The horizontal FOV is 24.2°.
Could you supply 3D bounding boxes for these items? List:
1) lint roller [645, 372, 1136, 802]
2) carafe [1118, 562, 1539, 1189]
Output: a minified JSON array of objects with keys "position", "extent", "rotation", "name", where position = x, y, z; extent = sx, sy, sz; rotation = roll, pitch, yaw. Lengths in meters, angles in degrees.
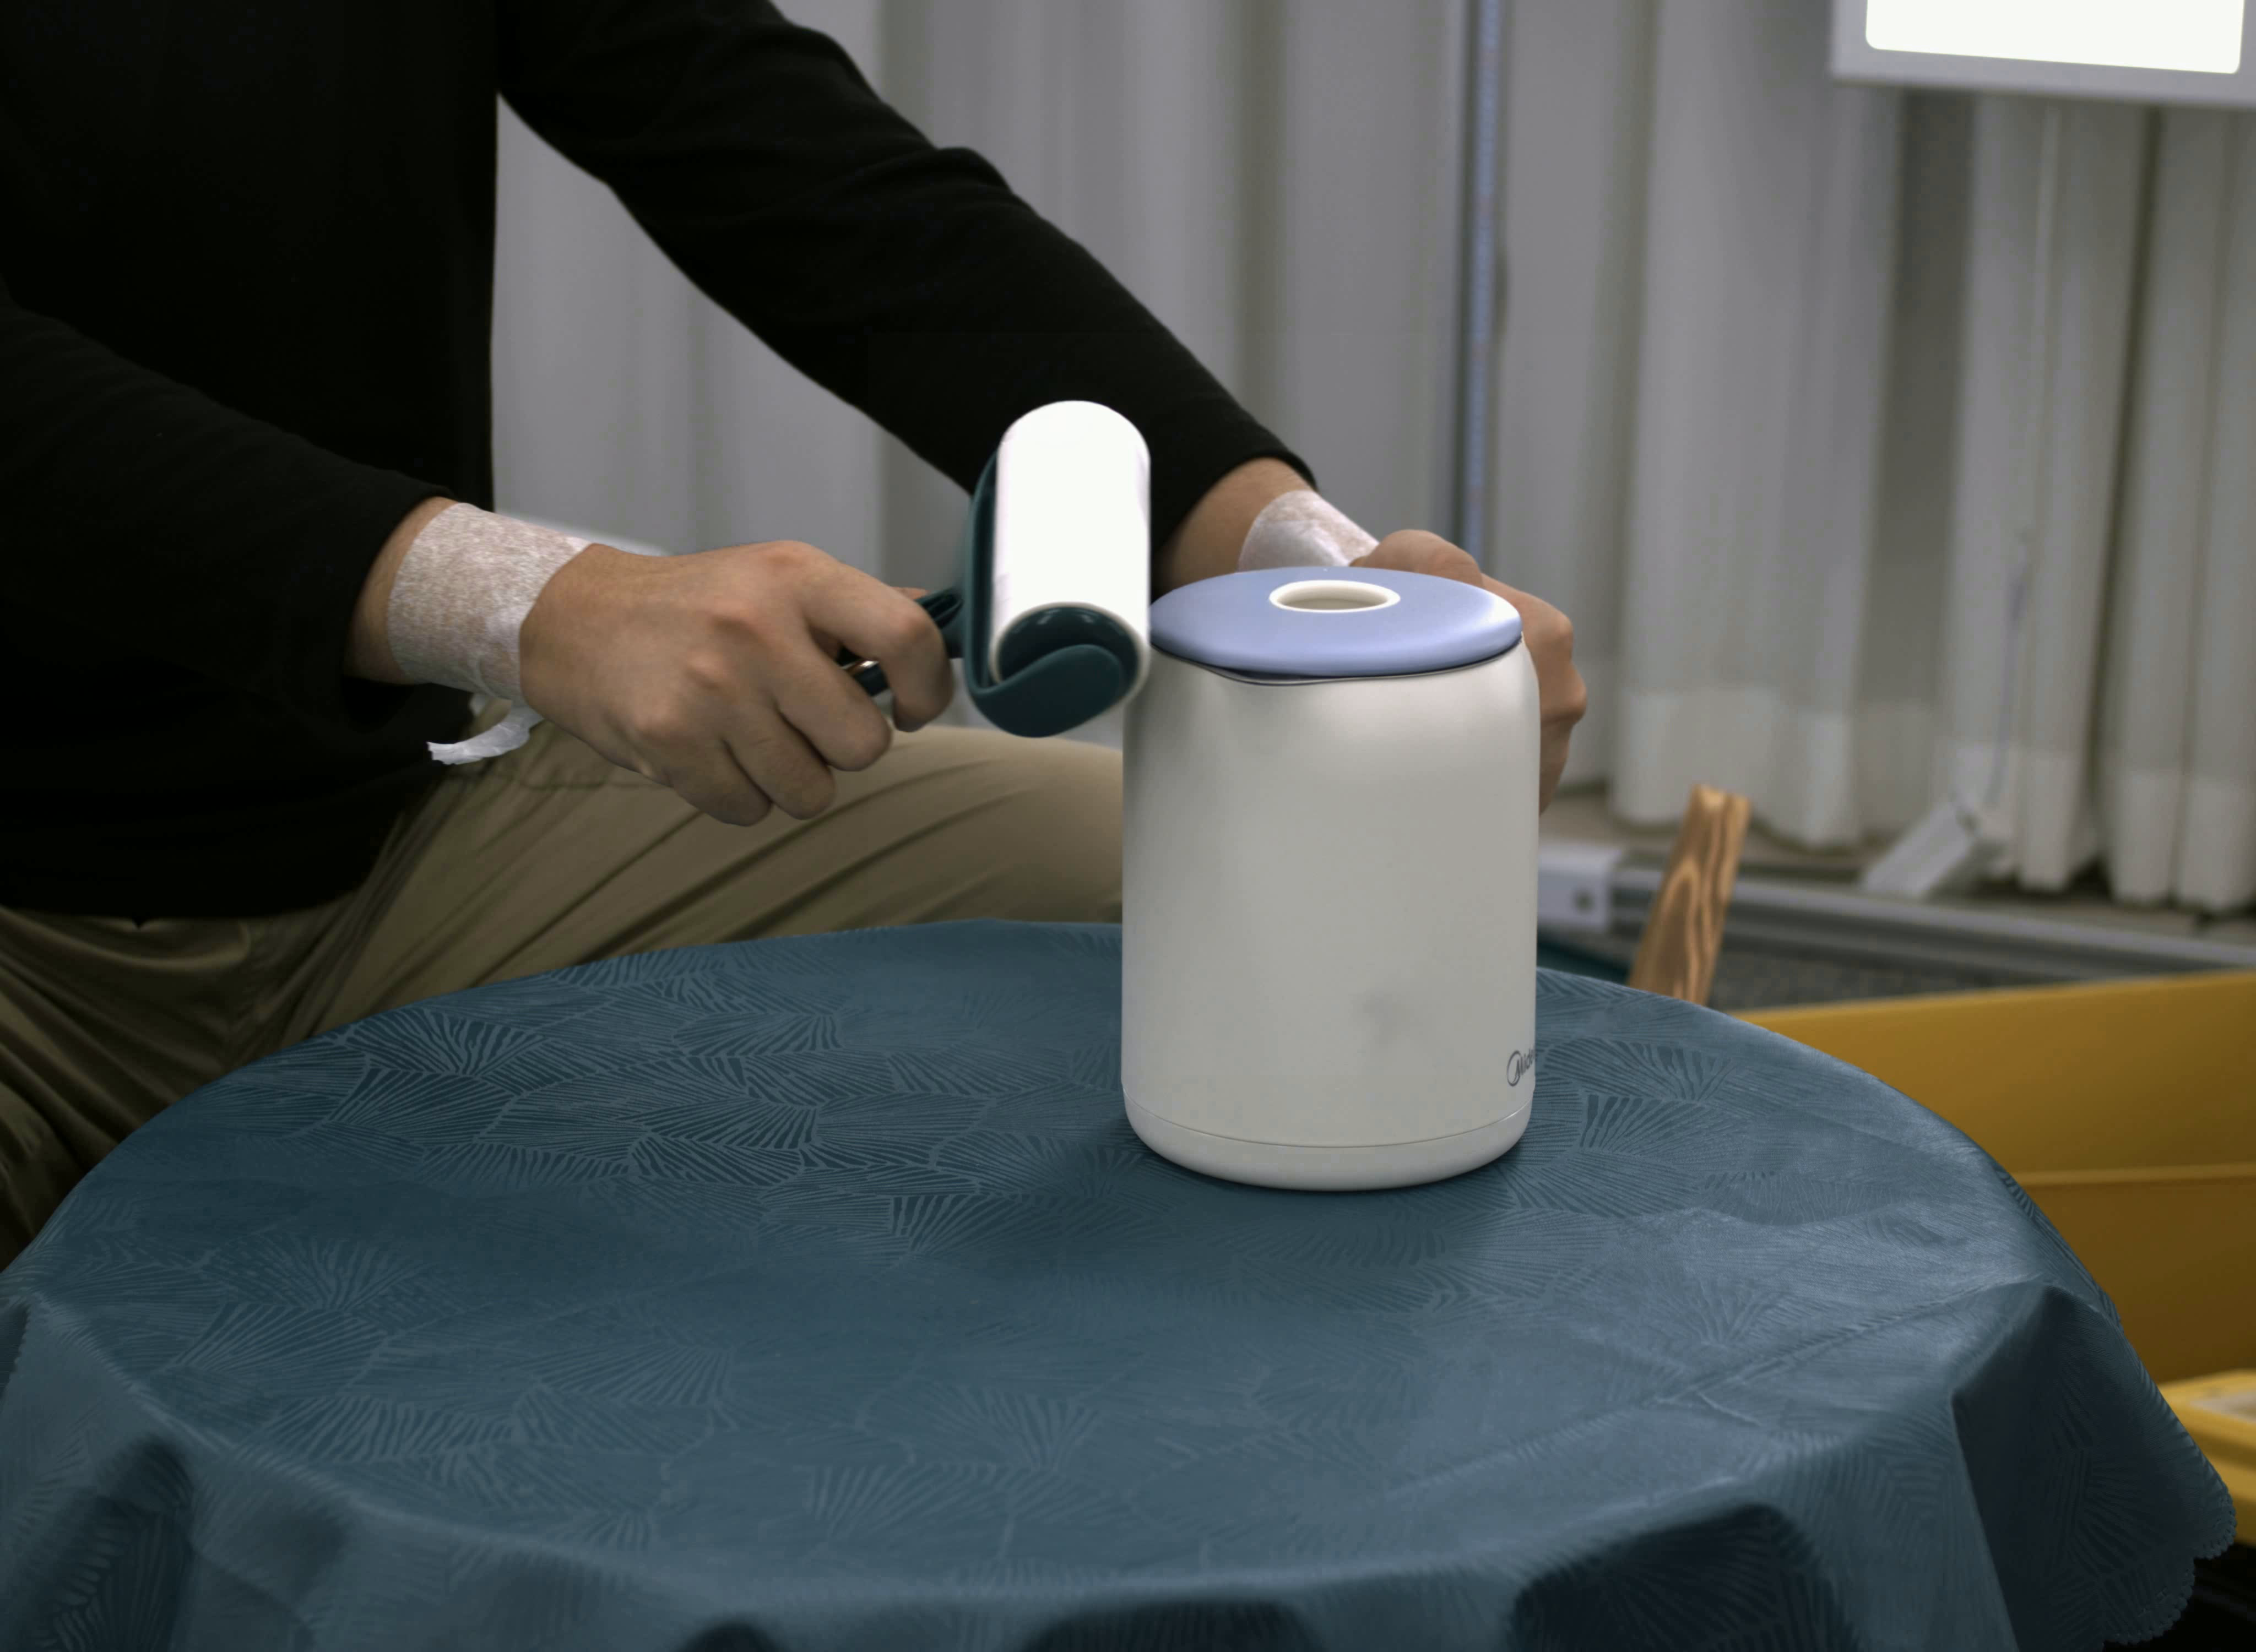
[{"position":[-0.080,-0.058,1.604],"extent":[0.179,0.049,0.133],"rotation":[-21,37,17],"name":"lint roller"},{"position":[0.071,0.009,1.674],"extent":[0.131,0.184,0.191],"rotation":[6,15,17],"name":"carafe"}]
